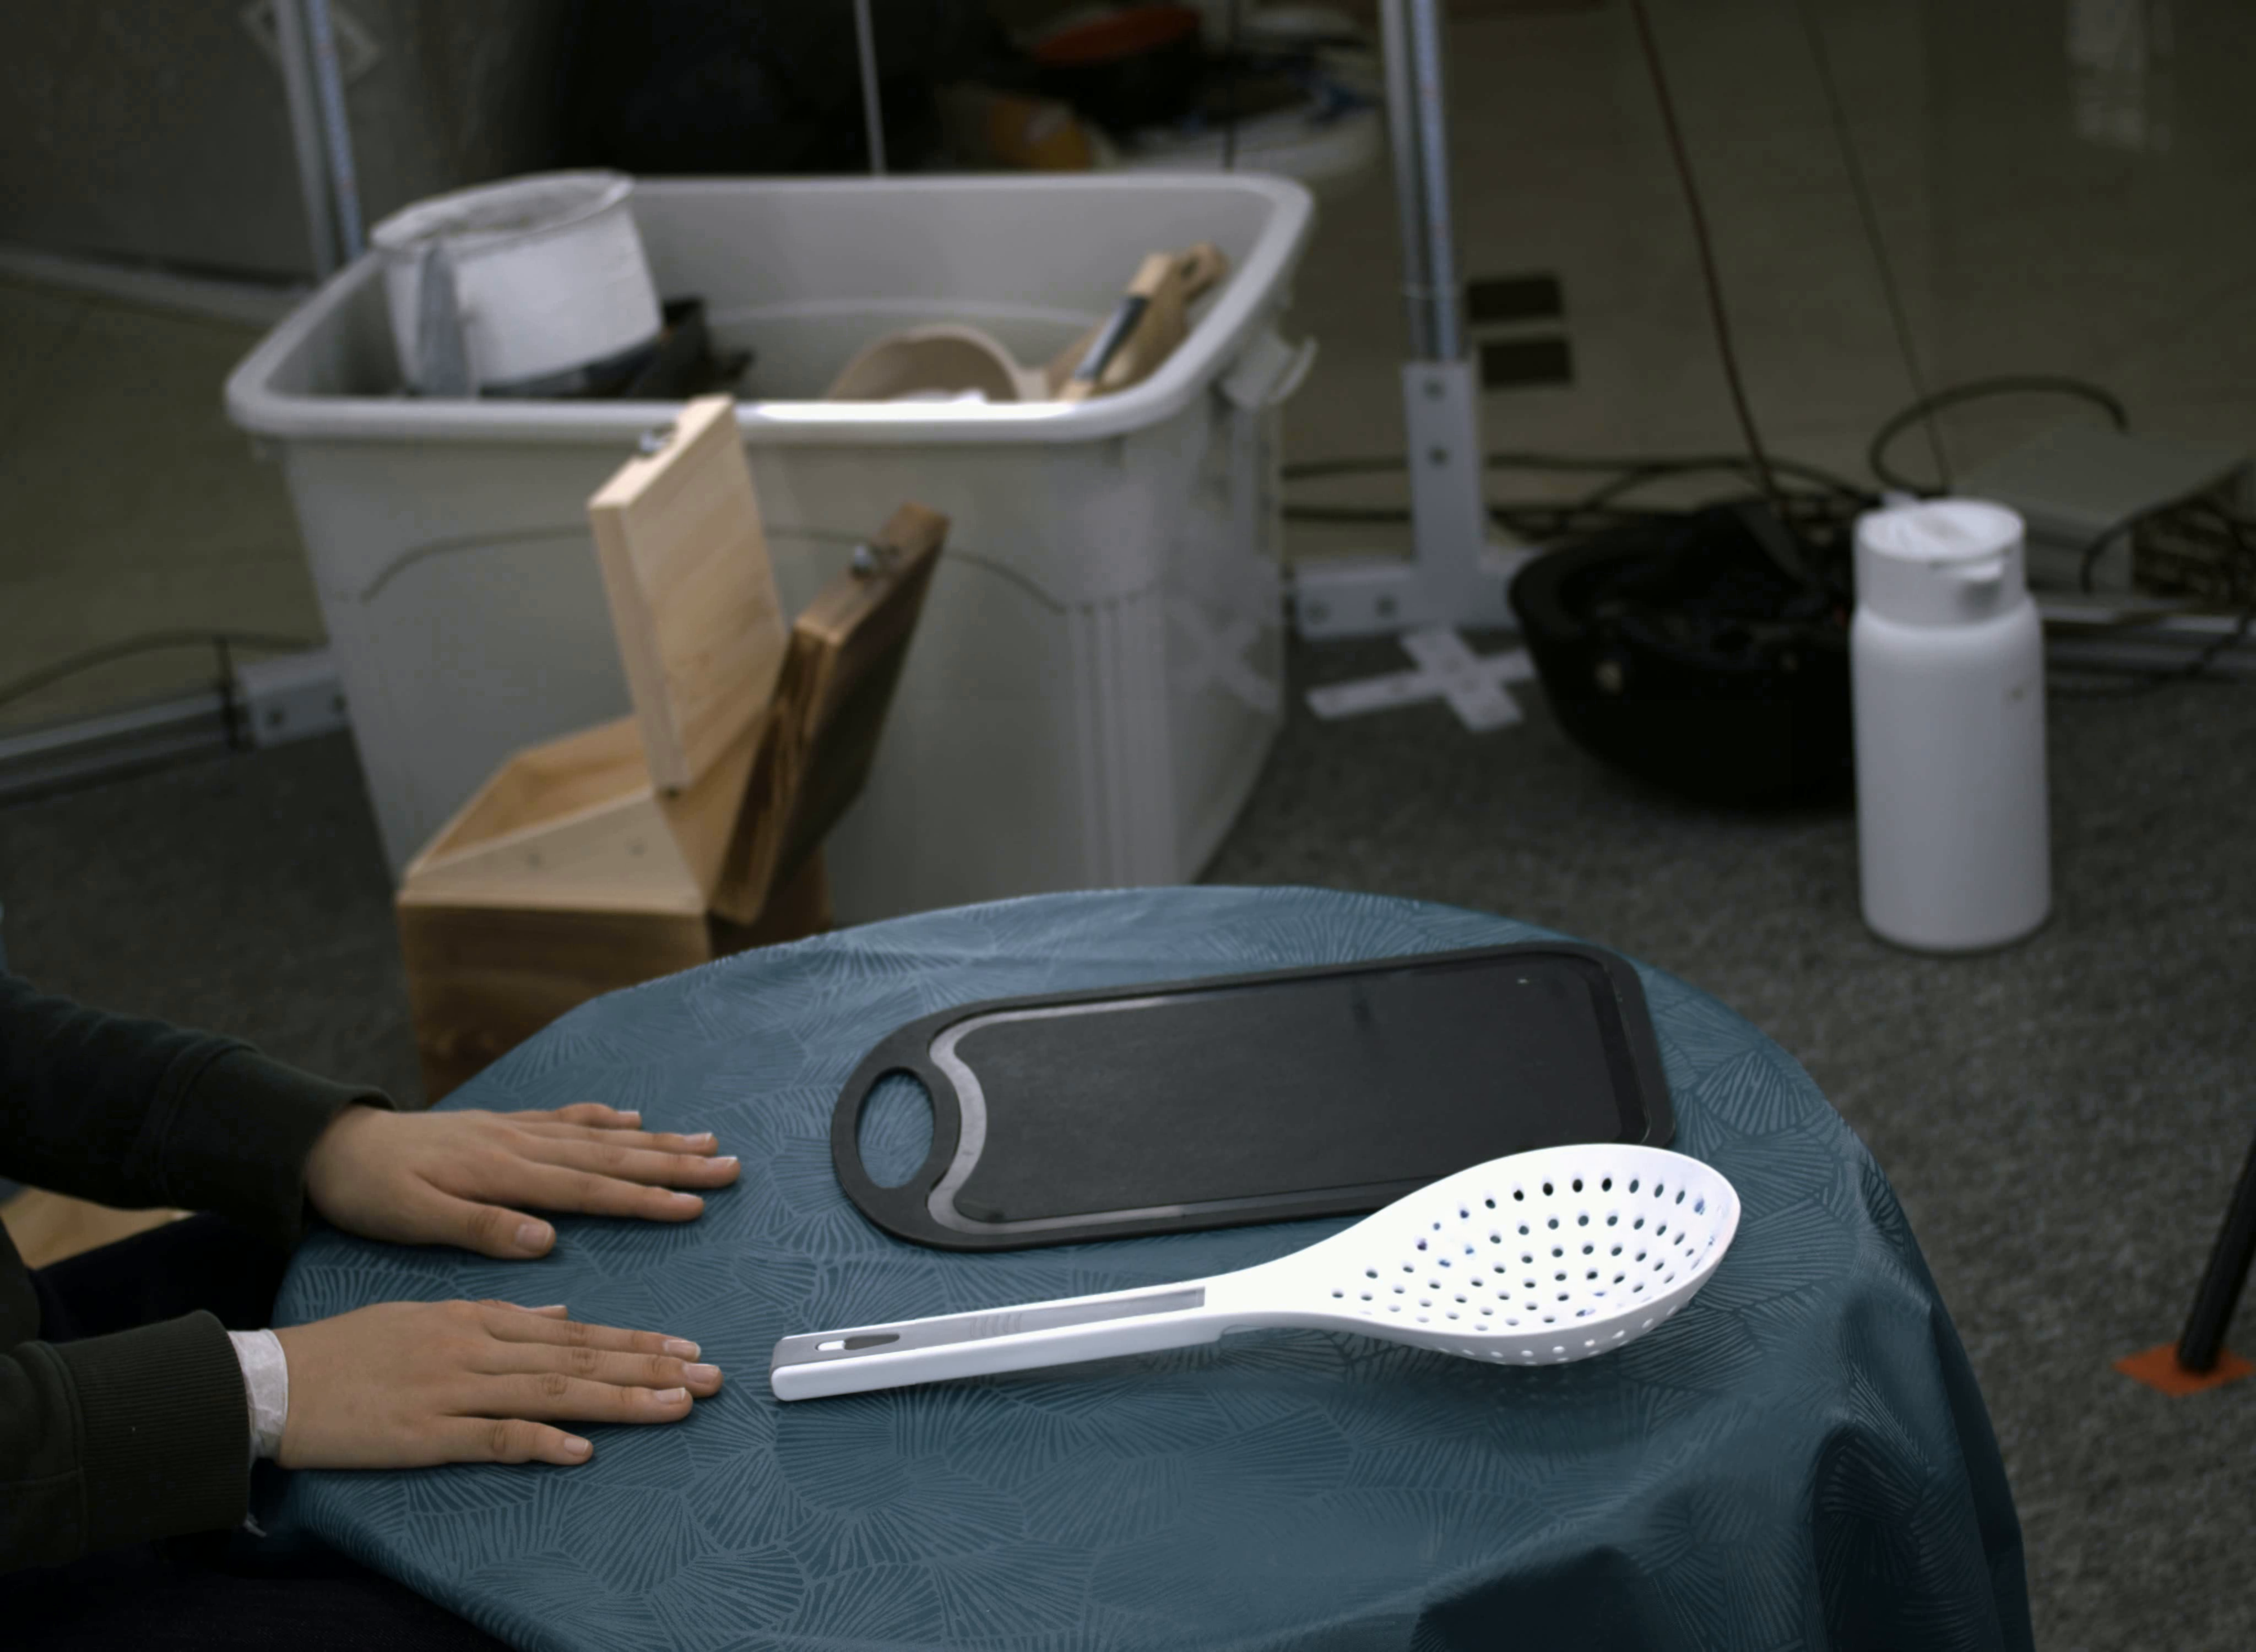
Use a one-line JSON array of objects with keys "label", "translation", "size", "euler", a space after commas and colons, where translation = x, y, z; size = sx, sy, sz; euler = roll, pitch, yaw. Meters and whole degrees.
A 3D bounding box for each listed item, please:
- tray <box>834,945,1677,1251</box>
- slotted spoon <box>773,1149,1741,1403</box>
[{"label": "tray", "translation": [0.046, 0.104, 2.210], "size": [0.325, 0.010, 0.208], "euler": [-6, 25, 2]}, {"label": "slotted spoon", "translation": [0.044, 0.170, 2.022], "size": [0.349, 0.046, 0.134], "euler": [-5, 23, 5]}]
